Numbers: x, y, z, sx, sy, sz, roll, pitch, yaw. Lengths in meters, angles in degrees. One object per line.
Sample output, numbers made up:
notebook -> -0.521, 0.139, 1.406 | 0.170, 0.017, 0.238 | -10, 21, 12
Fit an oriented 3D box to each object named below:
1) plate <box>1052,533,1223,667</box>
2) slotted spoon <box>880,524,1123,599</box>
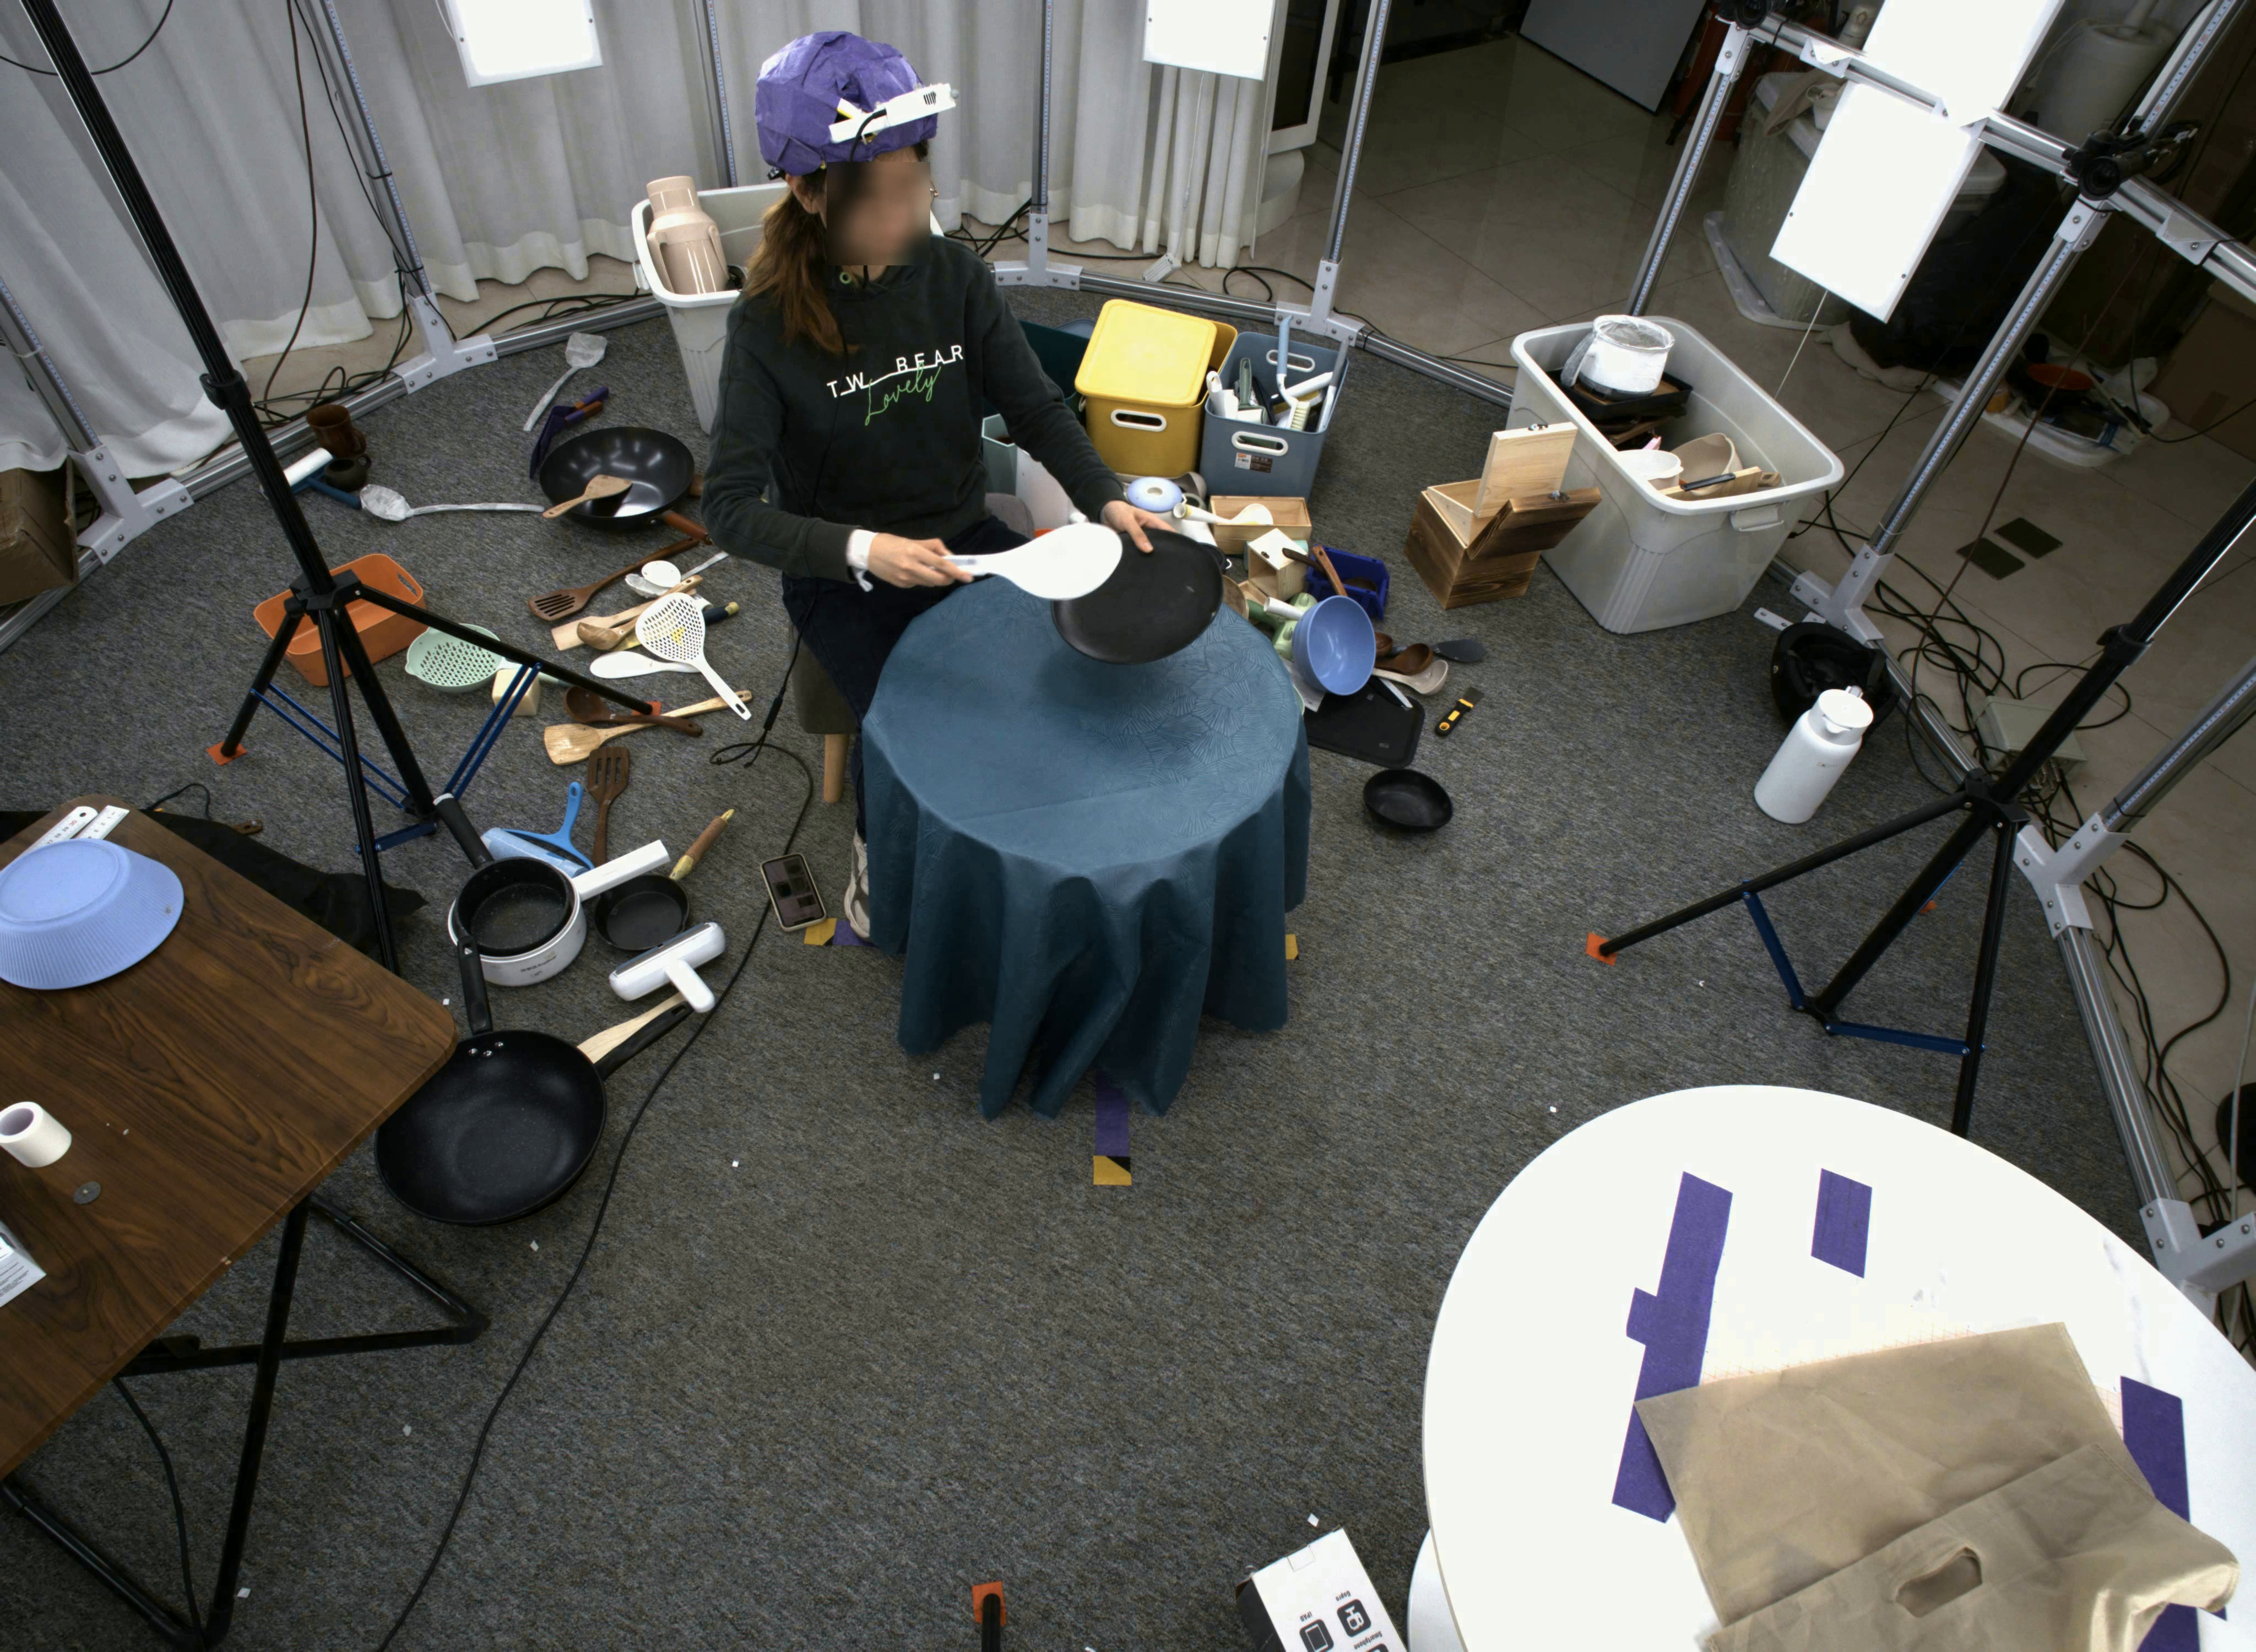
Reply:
plate -> 0.013, -0.315, 1.806 | 0.244, 0.023, 0.250 | -6, 56, 8
slotted spoon -> -0.171, -0.345, 1.705 | 0.351, 0.044, 0.139 | 6, 54, 17
